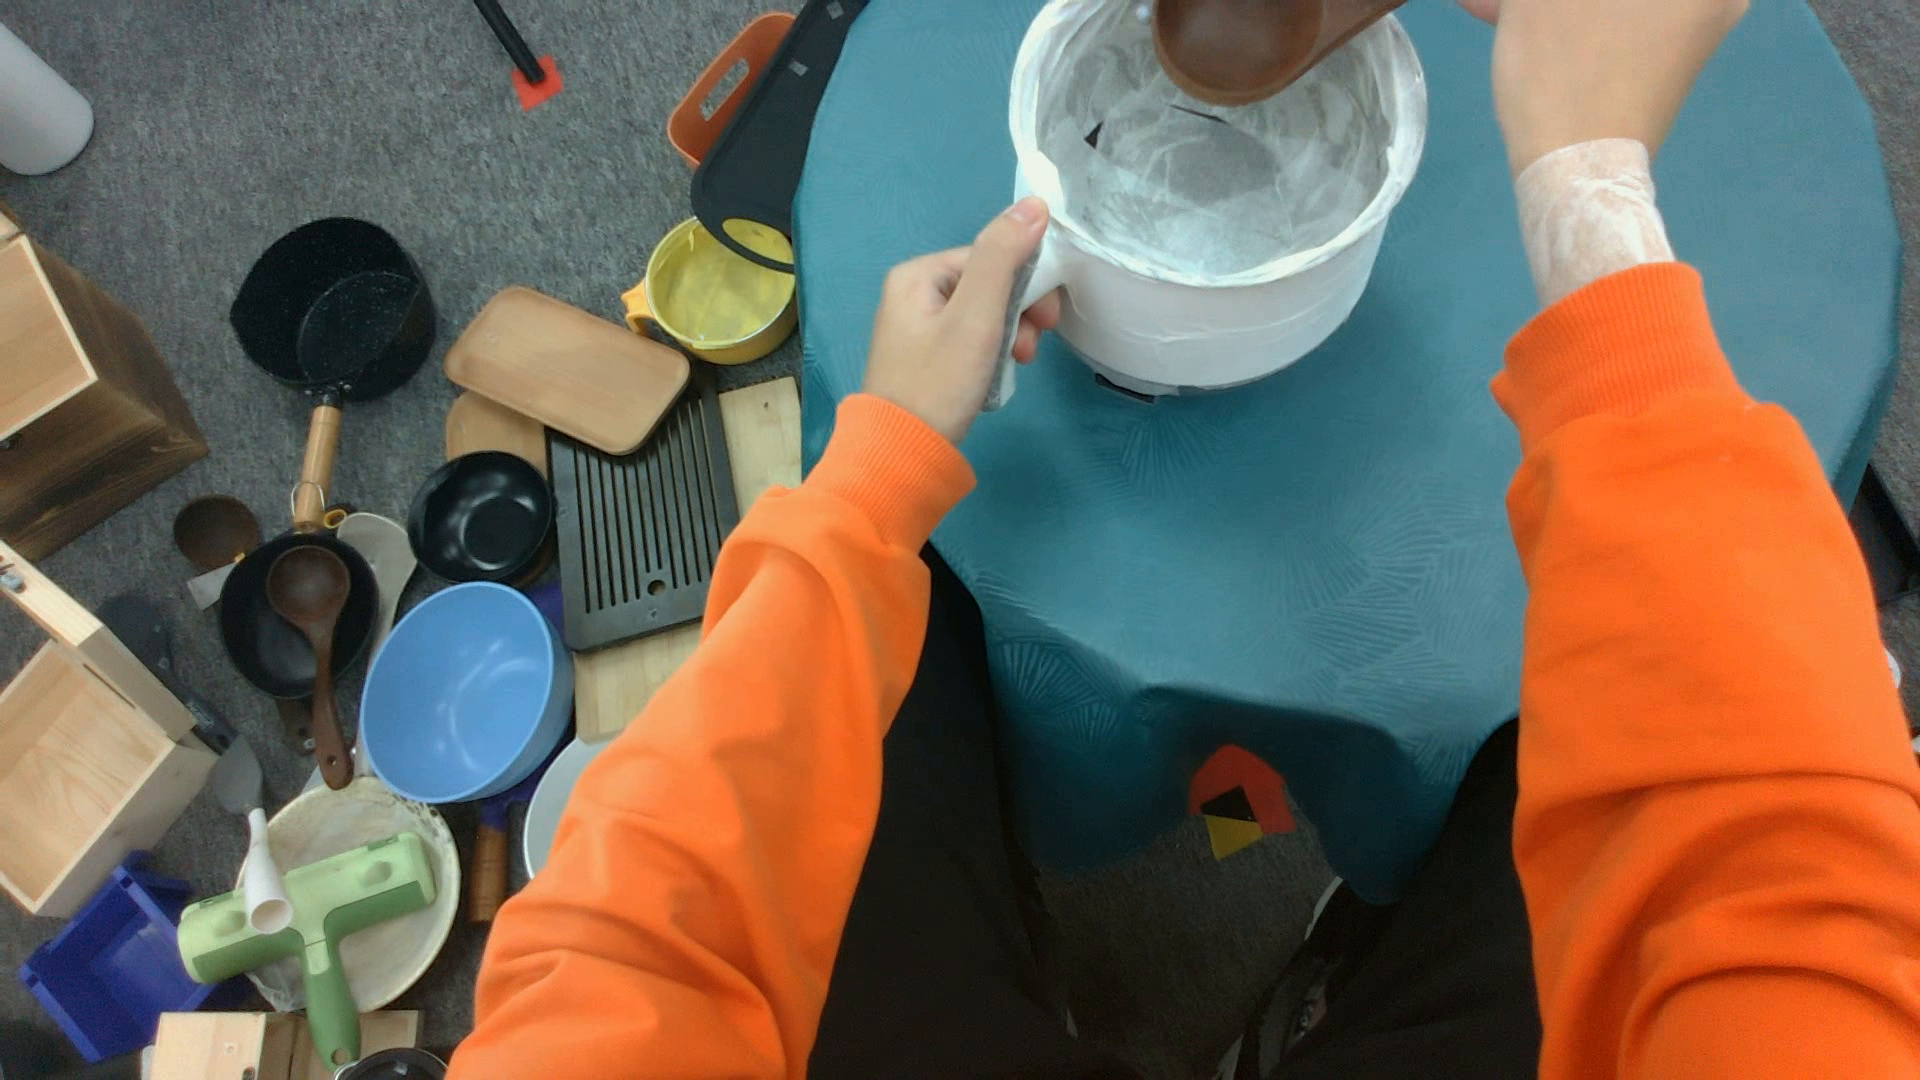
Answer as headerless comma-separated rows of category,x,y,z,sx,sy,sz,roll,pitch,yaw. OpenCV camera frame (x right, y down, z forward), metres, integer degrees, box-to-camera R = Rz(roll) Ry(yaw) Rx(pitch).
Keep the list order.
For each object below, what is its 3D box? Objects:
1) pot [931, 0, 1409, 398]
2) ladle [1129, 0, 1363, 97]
pot,0.085,-0.158,0.648,0.234,0.136,0.179,-37,73,-9
ladle,0.183,-0.246,0.544,0.259,0.065,0.076,-11,83,44
